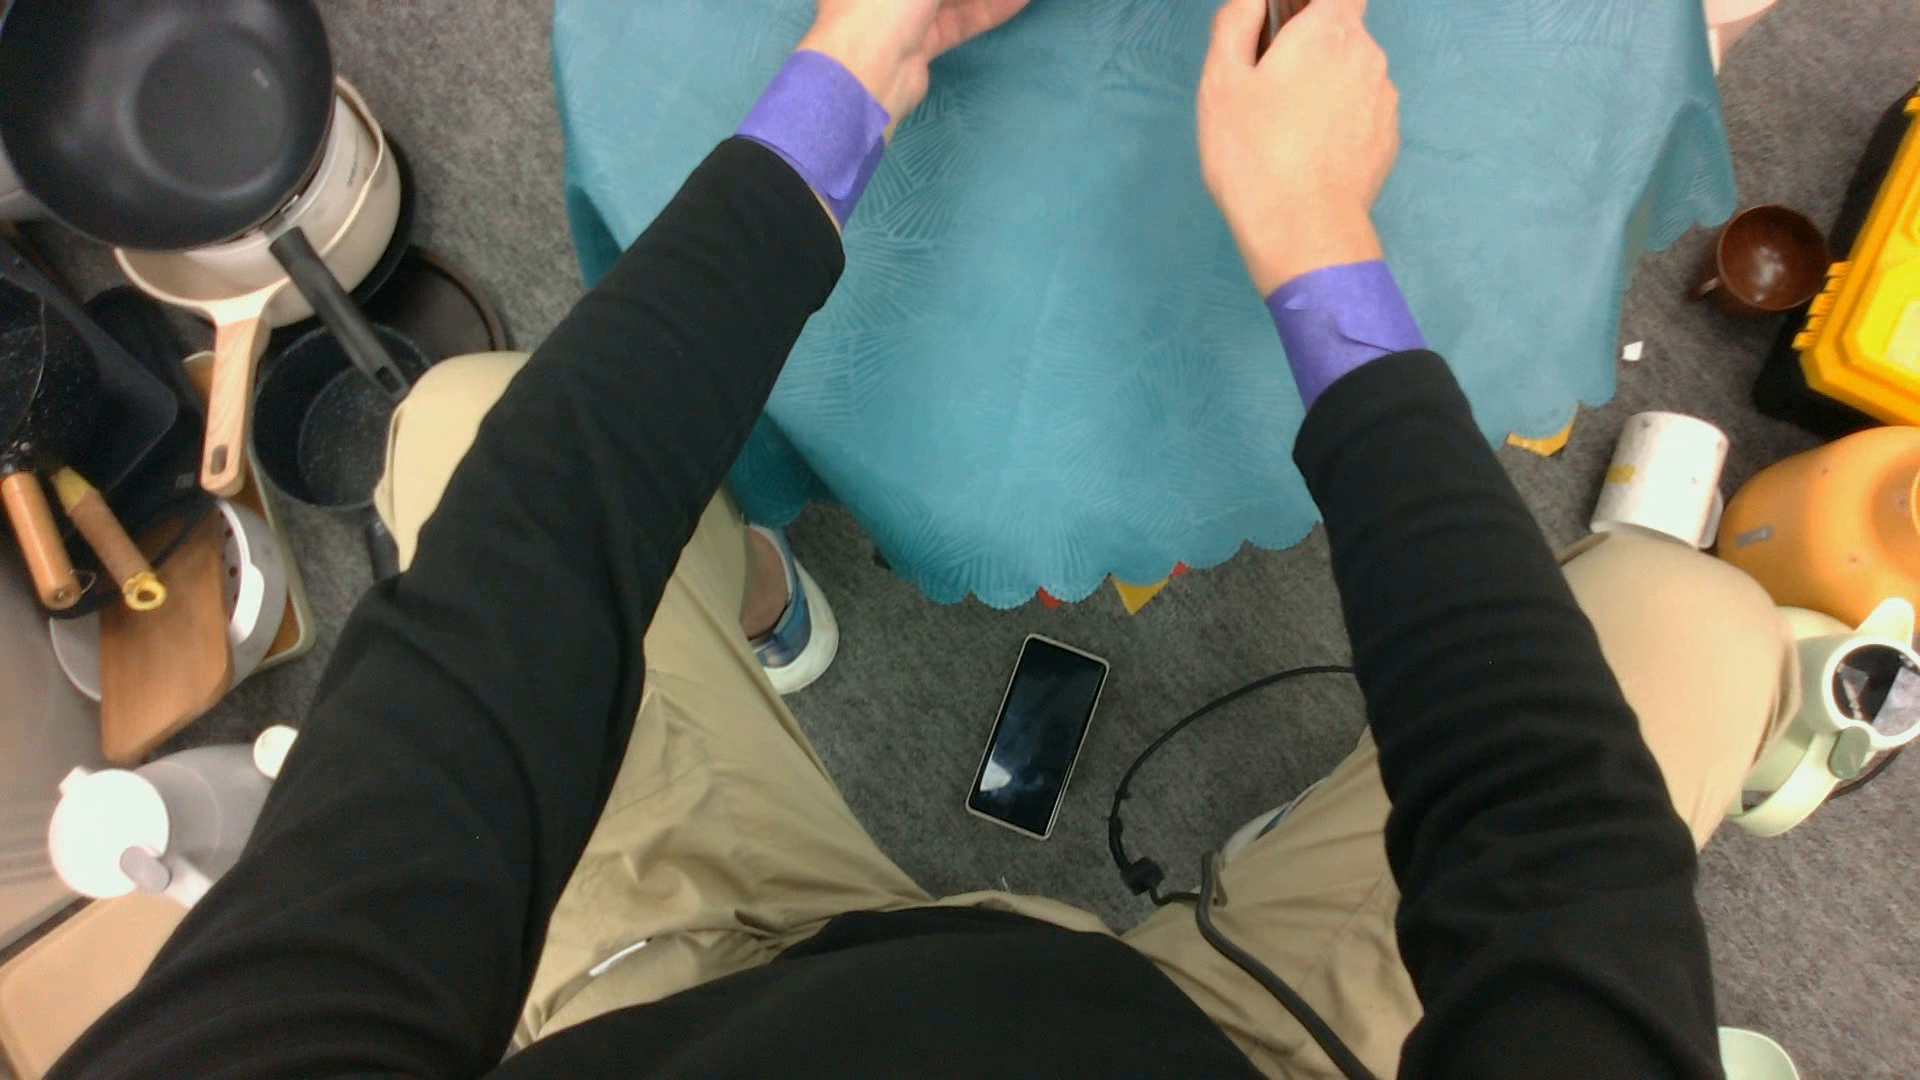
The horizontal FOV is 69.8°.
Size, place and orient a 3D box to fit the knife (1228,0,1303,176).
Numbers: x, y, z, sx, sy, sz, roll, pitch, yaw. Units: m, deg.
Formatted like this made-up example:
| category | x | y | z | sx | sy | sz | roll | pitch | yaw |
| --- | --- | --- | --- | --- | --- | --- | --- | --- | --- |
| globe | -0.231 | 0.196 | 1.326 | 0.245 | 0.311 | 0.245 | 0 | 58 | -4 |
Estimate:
| category | x | y | z | sx | sy | sz | roll | pitch | yaw |
| --- | --- | --- | --- | --- | --- | --- | --- | --- | --- |
| knife | 0.141 | -0.311 | 0.646 | 0.050 | 0.020 | 0.289 | 1 | 84 | -22 |
